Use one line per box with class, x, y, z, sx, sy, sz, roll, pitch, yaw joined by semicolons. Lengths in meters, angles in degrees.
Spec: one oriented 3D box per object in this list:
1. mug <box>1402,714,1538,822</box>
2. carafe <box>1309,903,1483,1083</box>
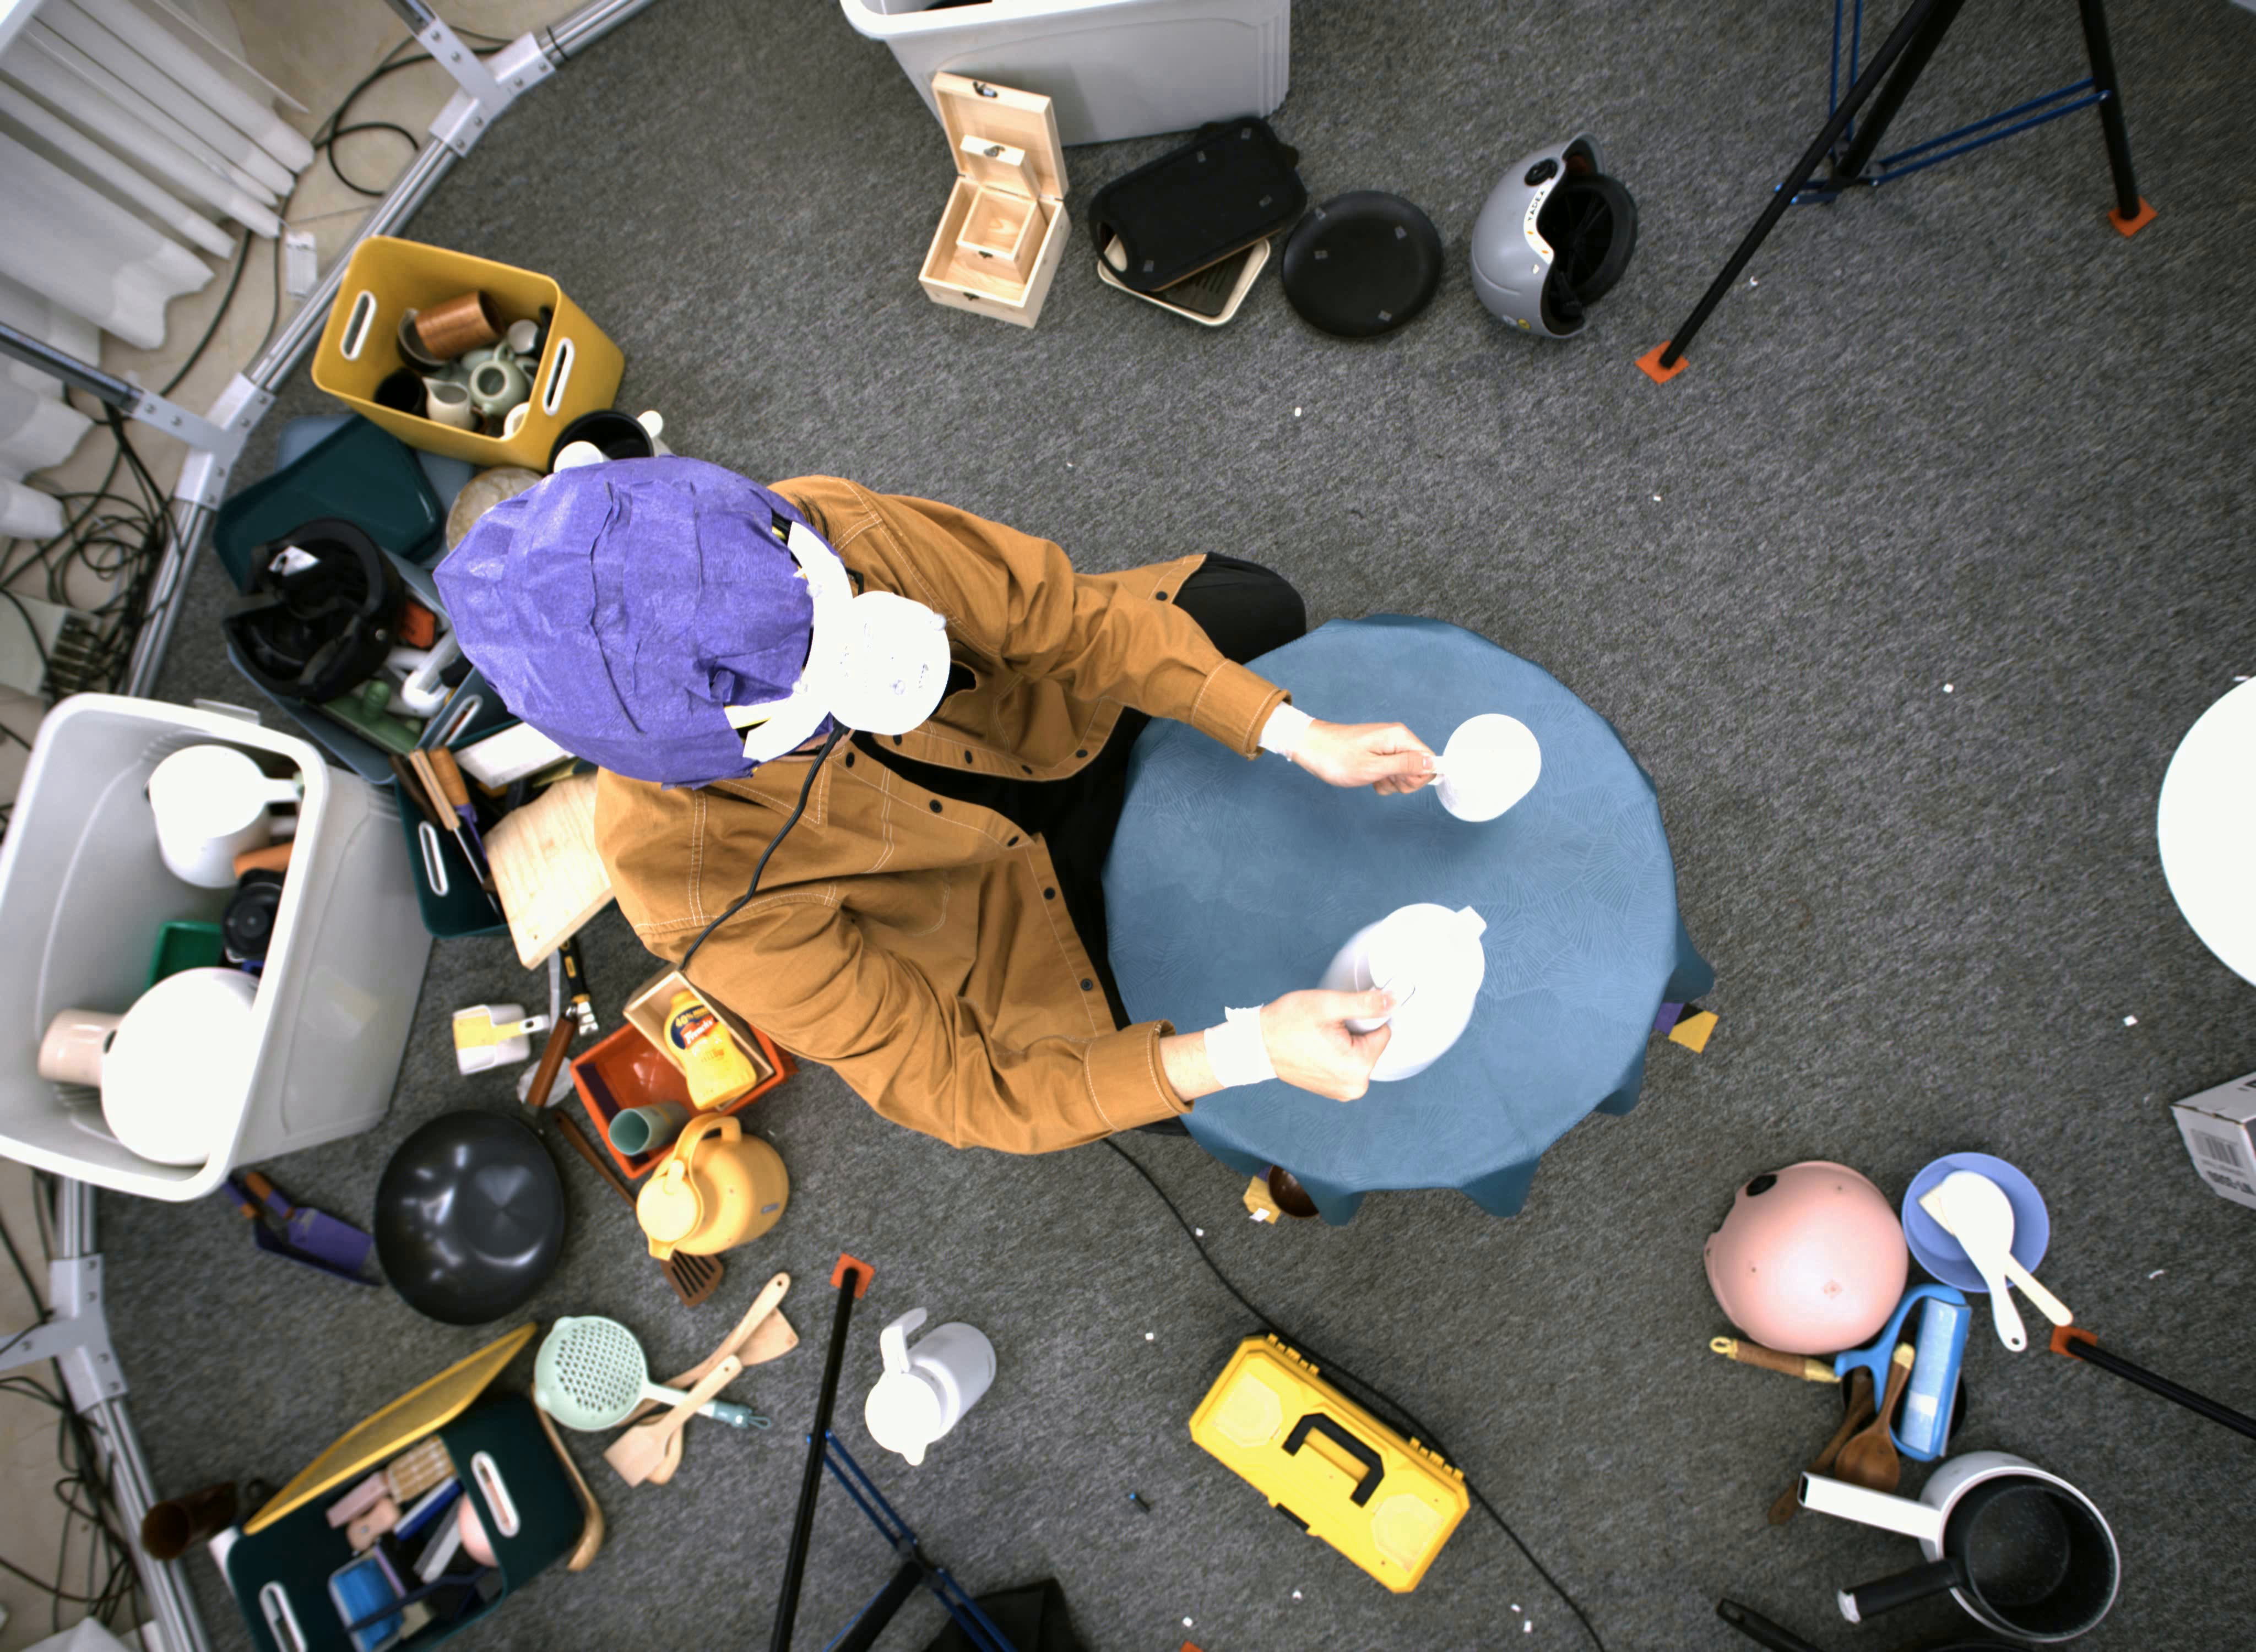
mug;0.319;-0.053;1.299;0.118;0.102;0.084;-3;80;6
carafe;0.223;0.153;1.199;0.166;0.252;0.132;-42;77;-10
